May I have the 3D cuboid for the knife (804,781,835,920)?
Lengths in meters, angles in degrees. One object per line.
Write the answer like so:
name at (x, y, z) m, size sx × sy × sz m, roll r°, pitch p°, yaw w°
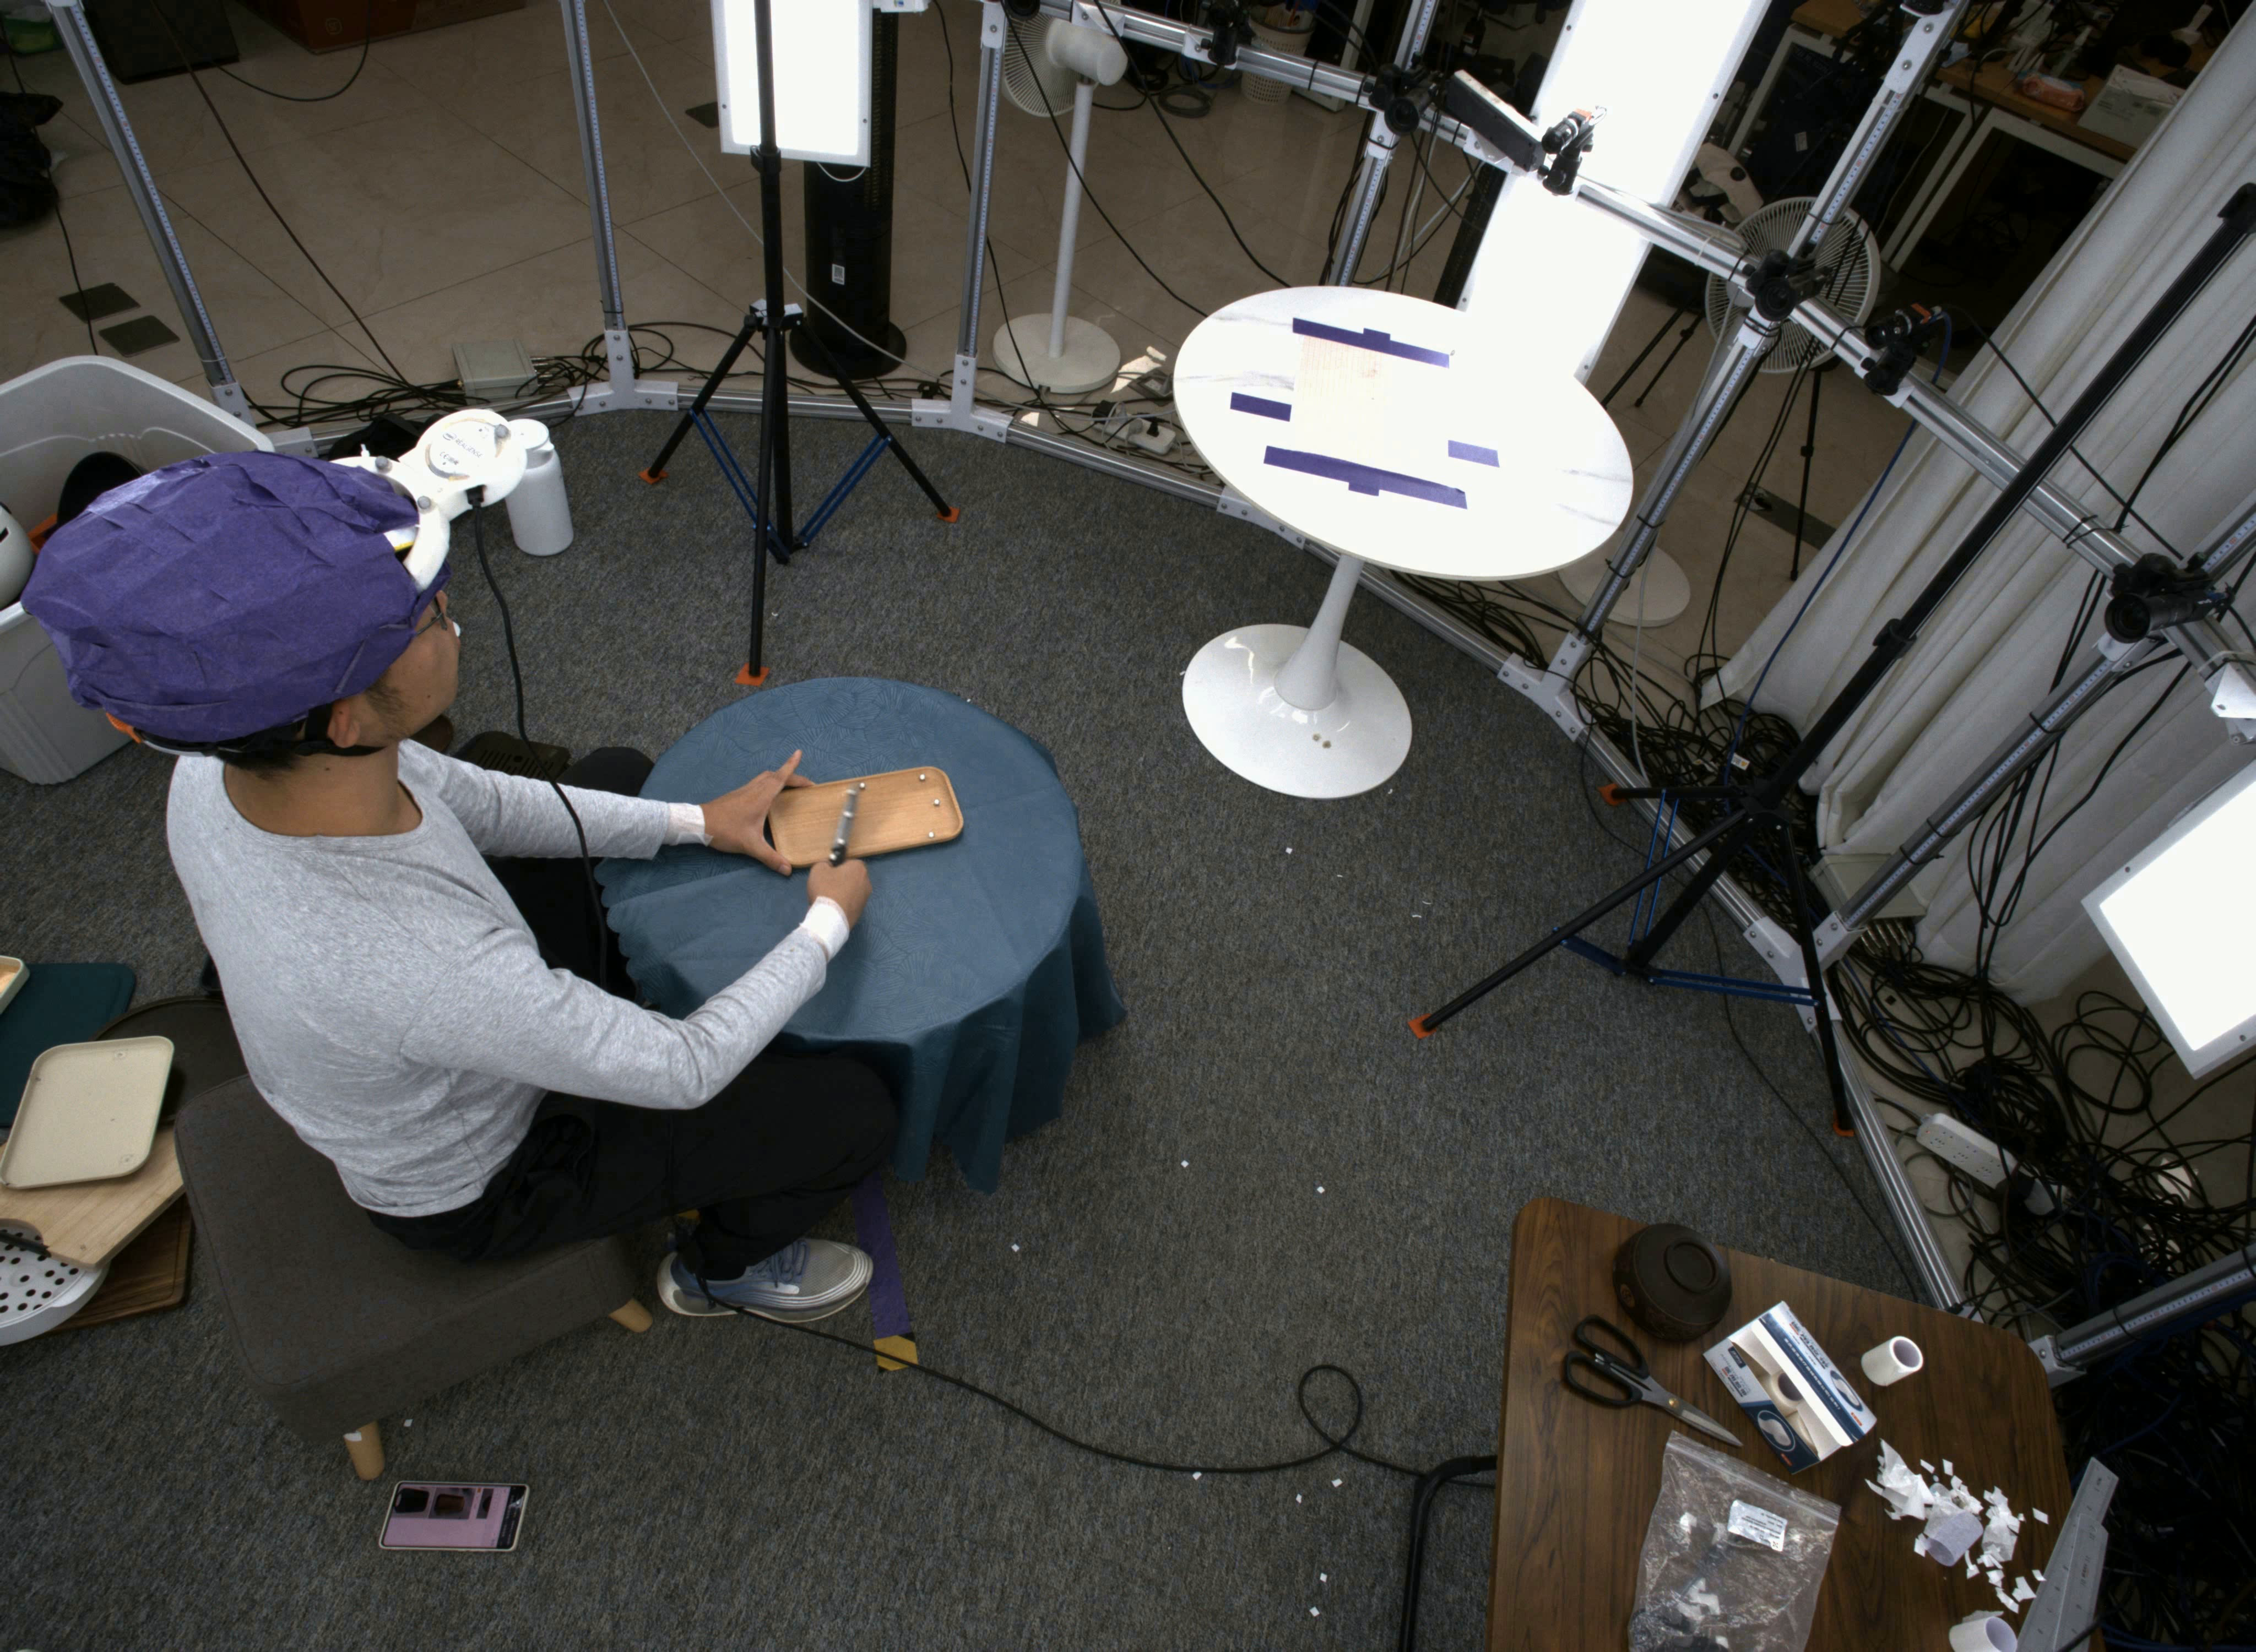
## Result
knife at (-0.389, 0.023, 1.650) m, size 0.024 × 0.017 × 0.233 m, roll -14°, pitch 46°, yaw 10°

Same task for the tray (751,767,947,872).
tray at (-0.374, -0.011, 1.746) m, size 0.252 × 0.023 × 0.127 m, roll -11°, pitch 55°, yaw -21°
